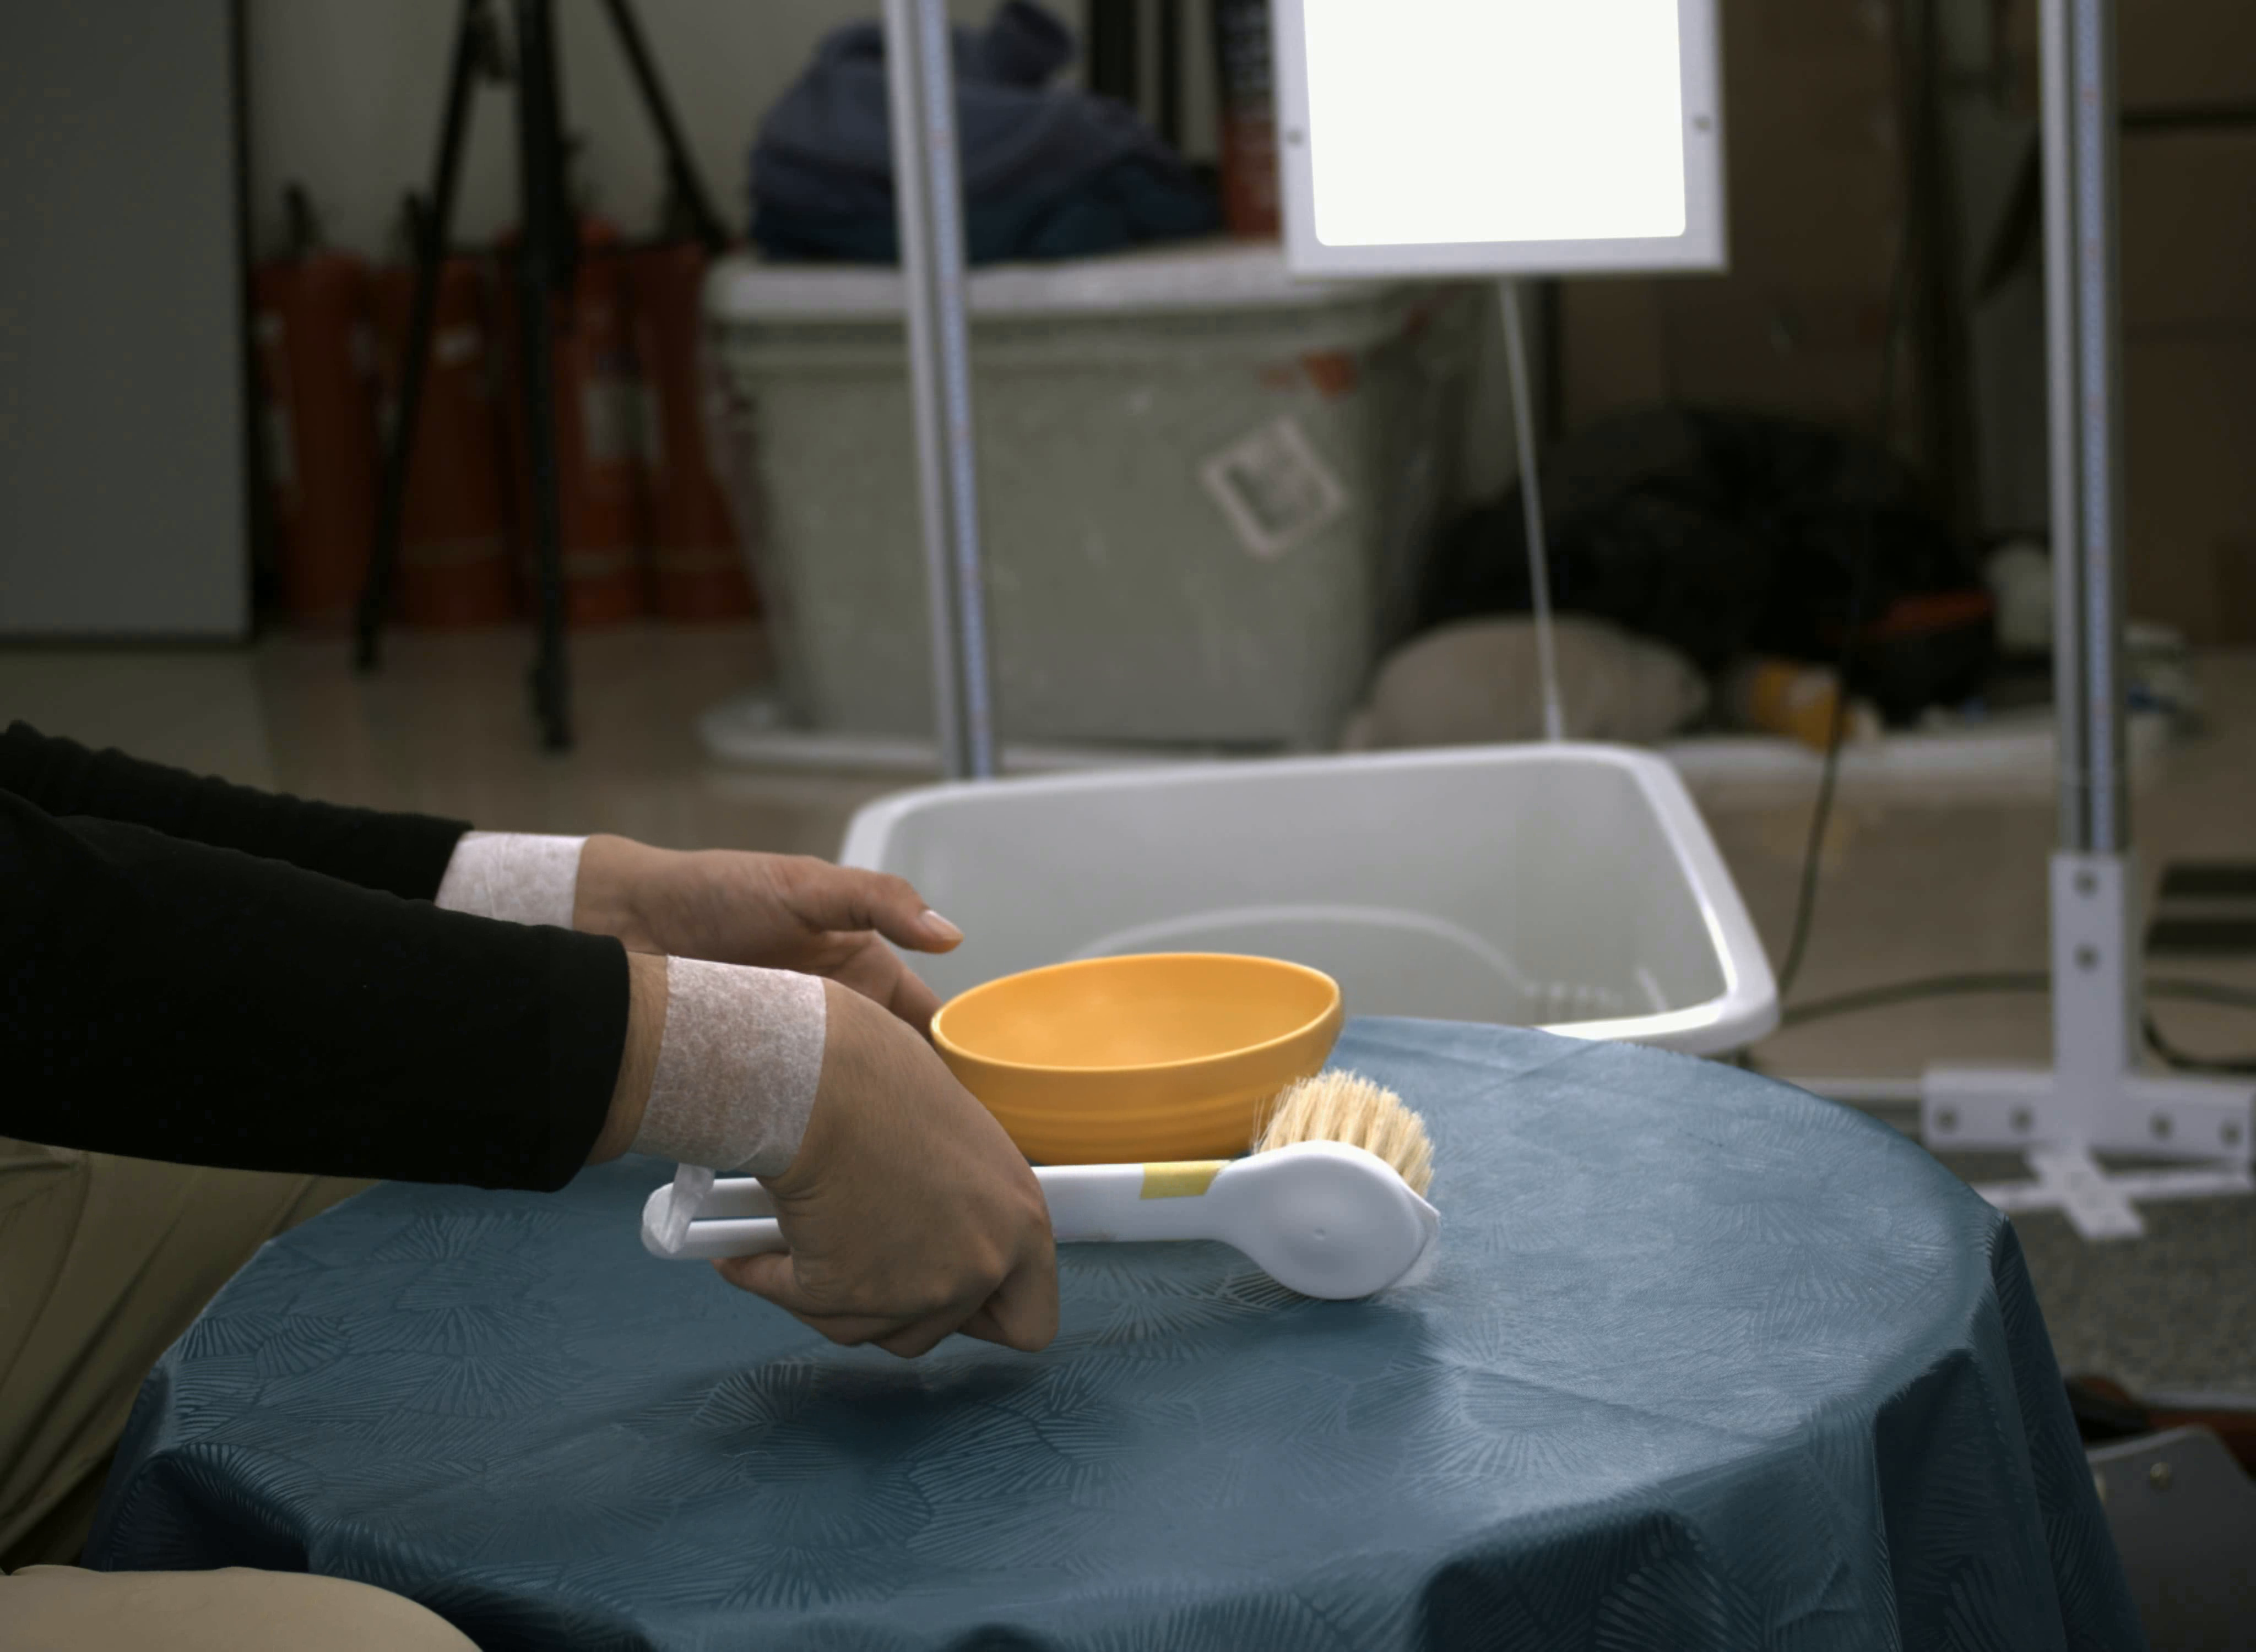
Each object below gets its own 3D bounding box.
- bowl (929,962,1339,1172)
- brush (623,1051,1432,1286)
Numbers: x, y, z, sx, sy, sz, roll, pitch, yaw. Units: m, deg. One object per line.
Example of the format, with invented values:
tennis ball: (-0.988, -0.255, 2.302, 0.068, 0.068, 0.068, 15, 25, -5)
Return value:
bowl: (0.005, 0.092, 1.916, 0.145, 0.060, 0.145, -6, 12, 0)
brush: (-0.030, 0.112, 1.749, 0.263, 0.069, 0.056, 0, 29, -9)
